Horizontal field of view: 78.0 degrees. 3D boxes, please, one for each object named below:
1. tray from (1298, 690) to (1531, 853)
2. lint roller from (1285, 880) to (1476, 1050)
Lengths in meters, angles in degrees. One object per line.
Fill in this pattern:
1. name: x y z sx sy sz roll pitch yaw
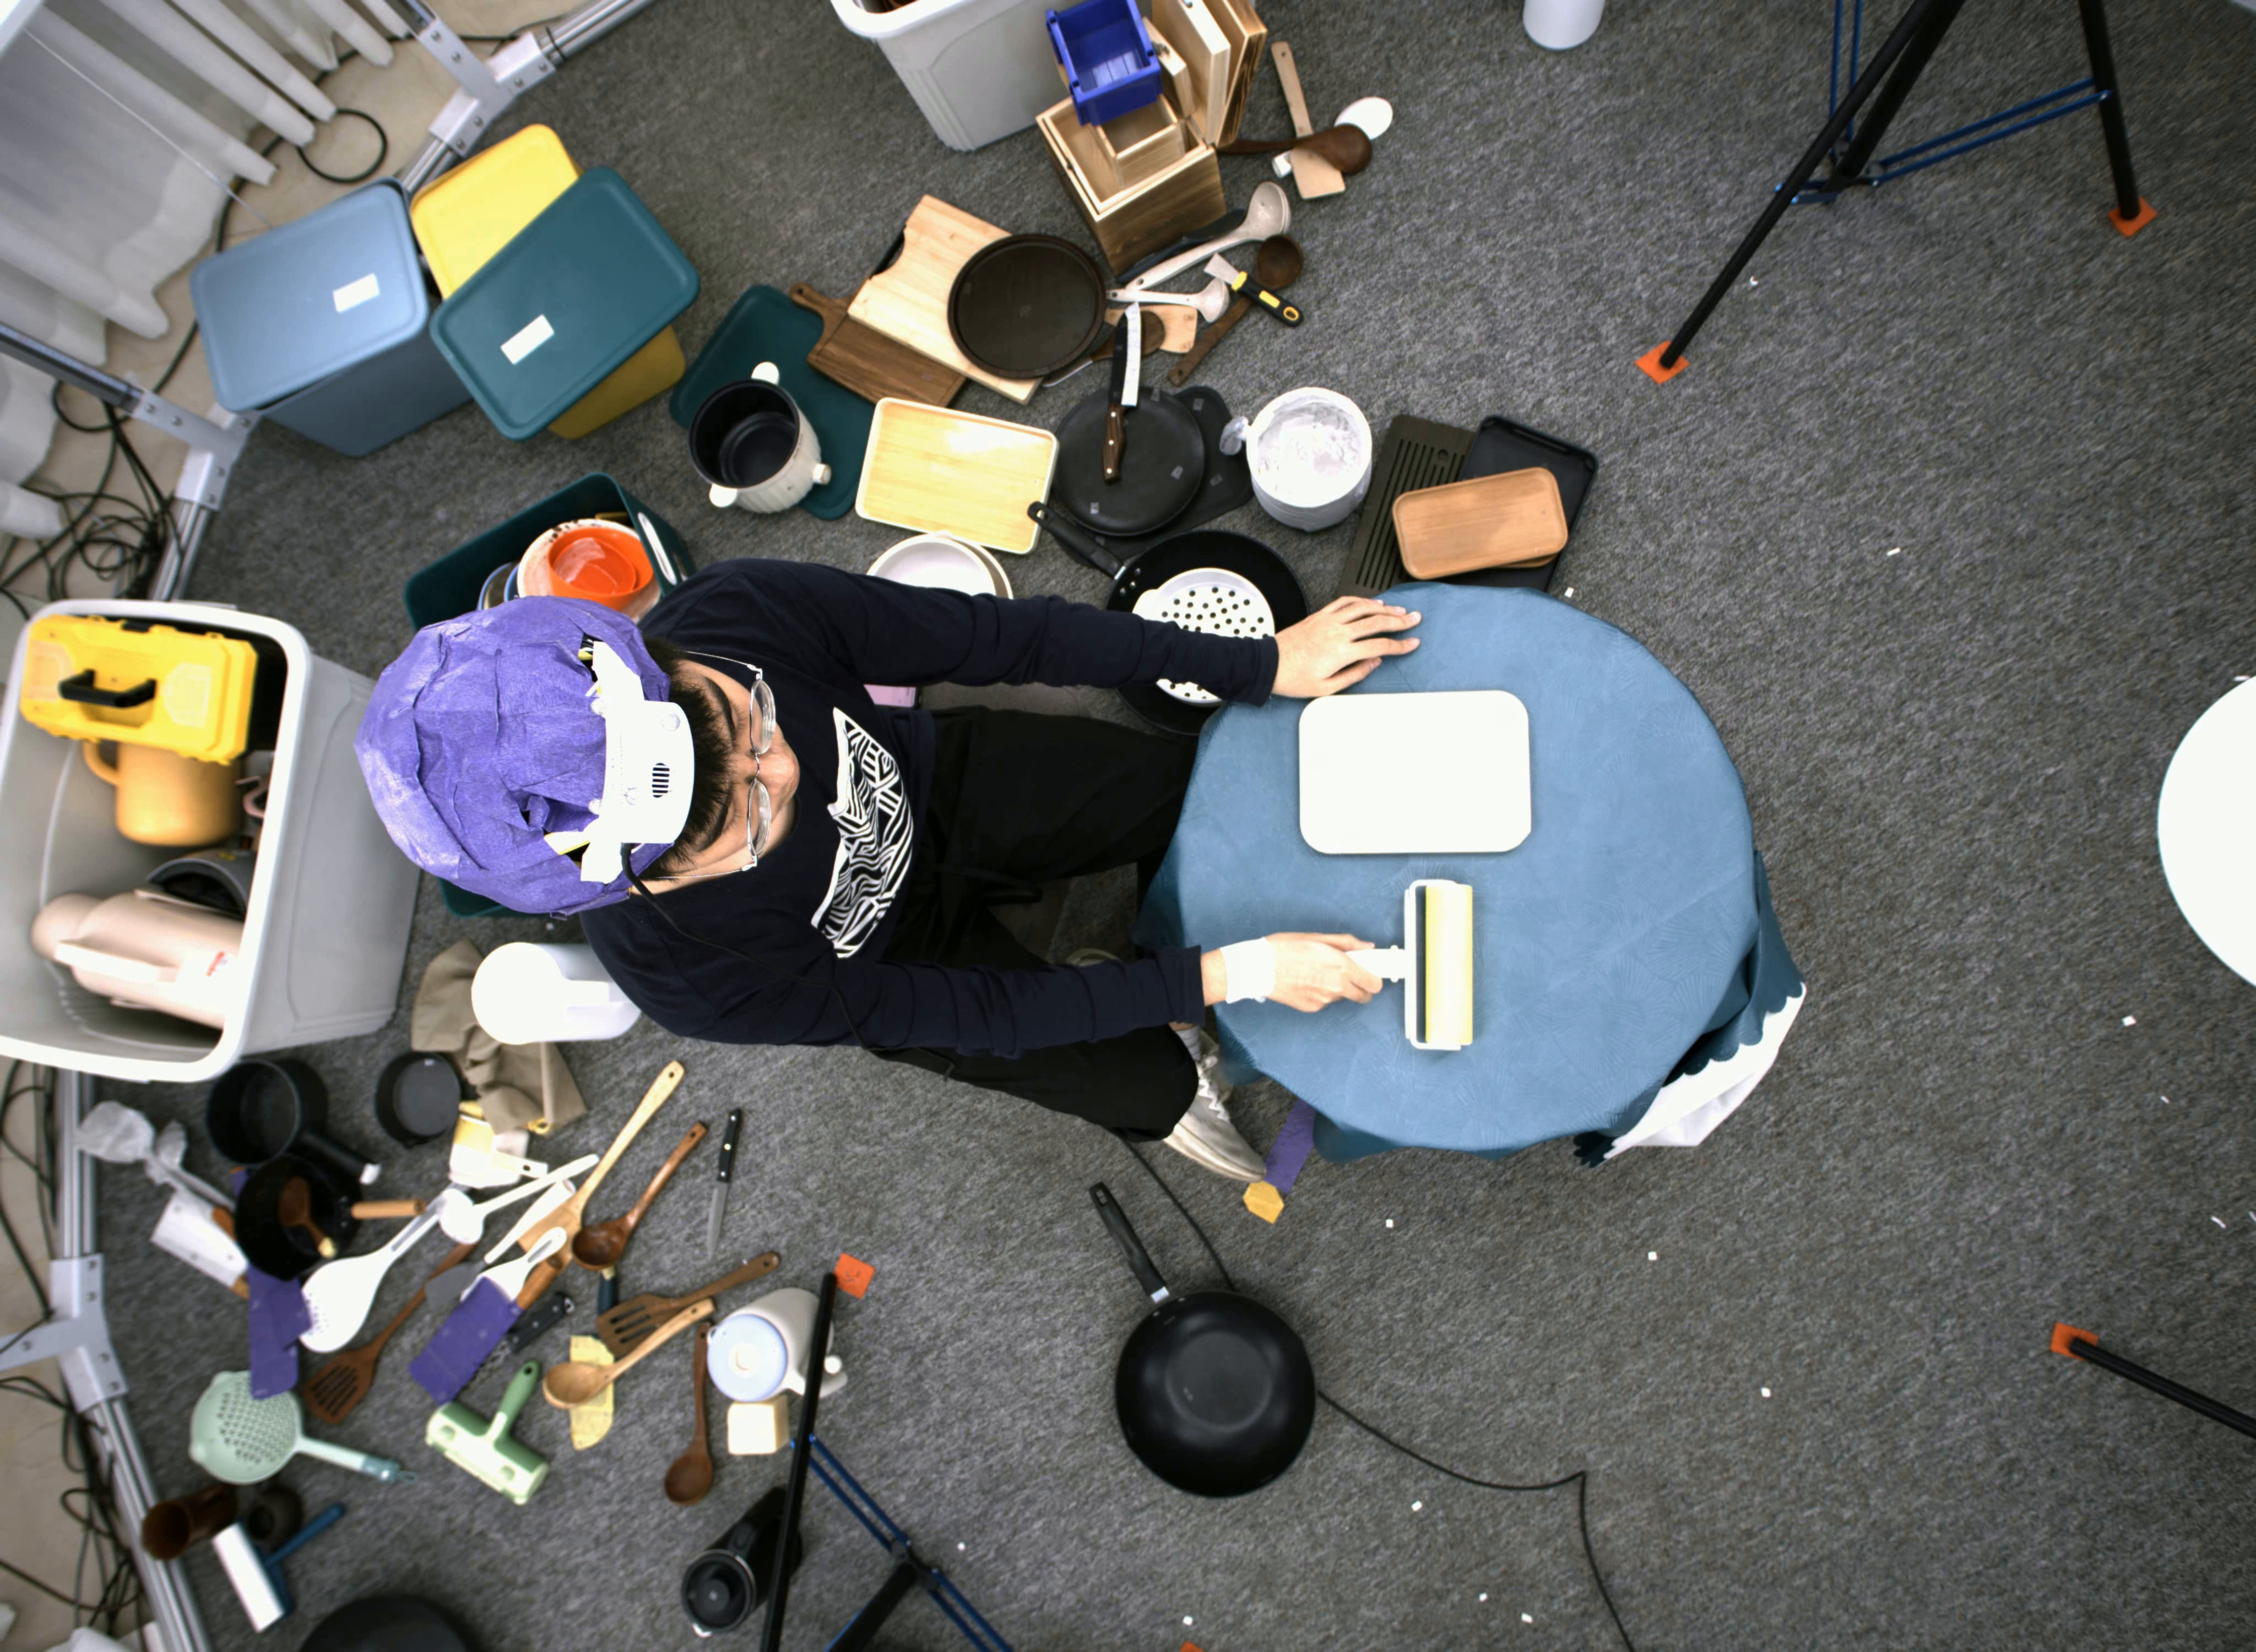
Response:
1. tray: 0.301 -0.058 1.452 0.240 0.017 0.170 -1 86 11
2. lint roller: 0.259 0.142 1.418 0.192 0.051 0.173 -1 86 -4
